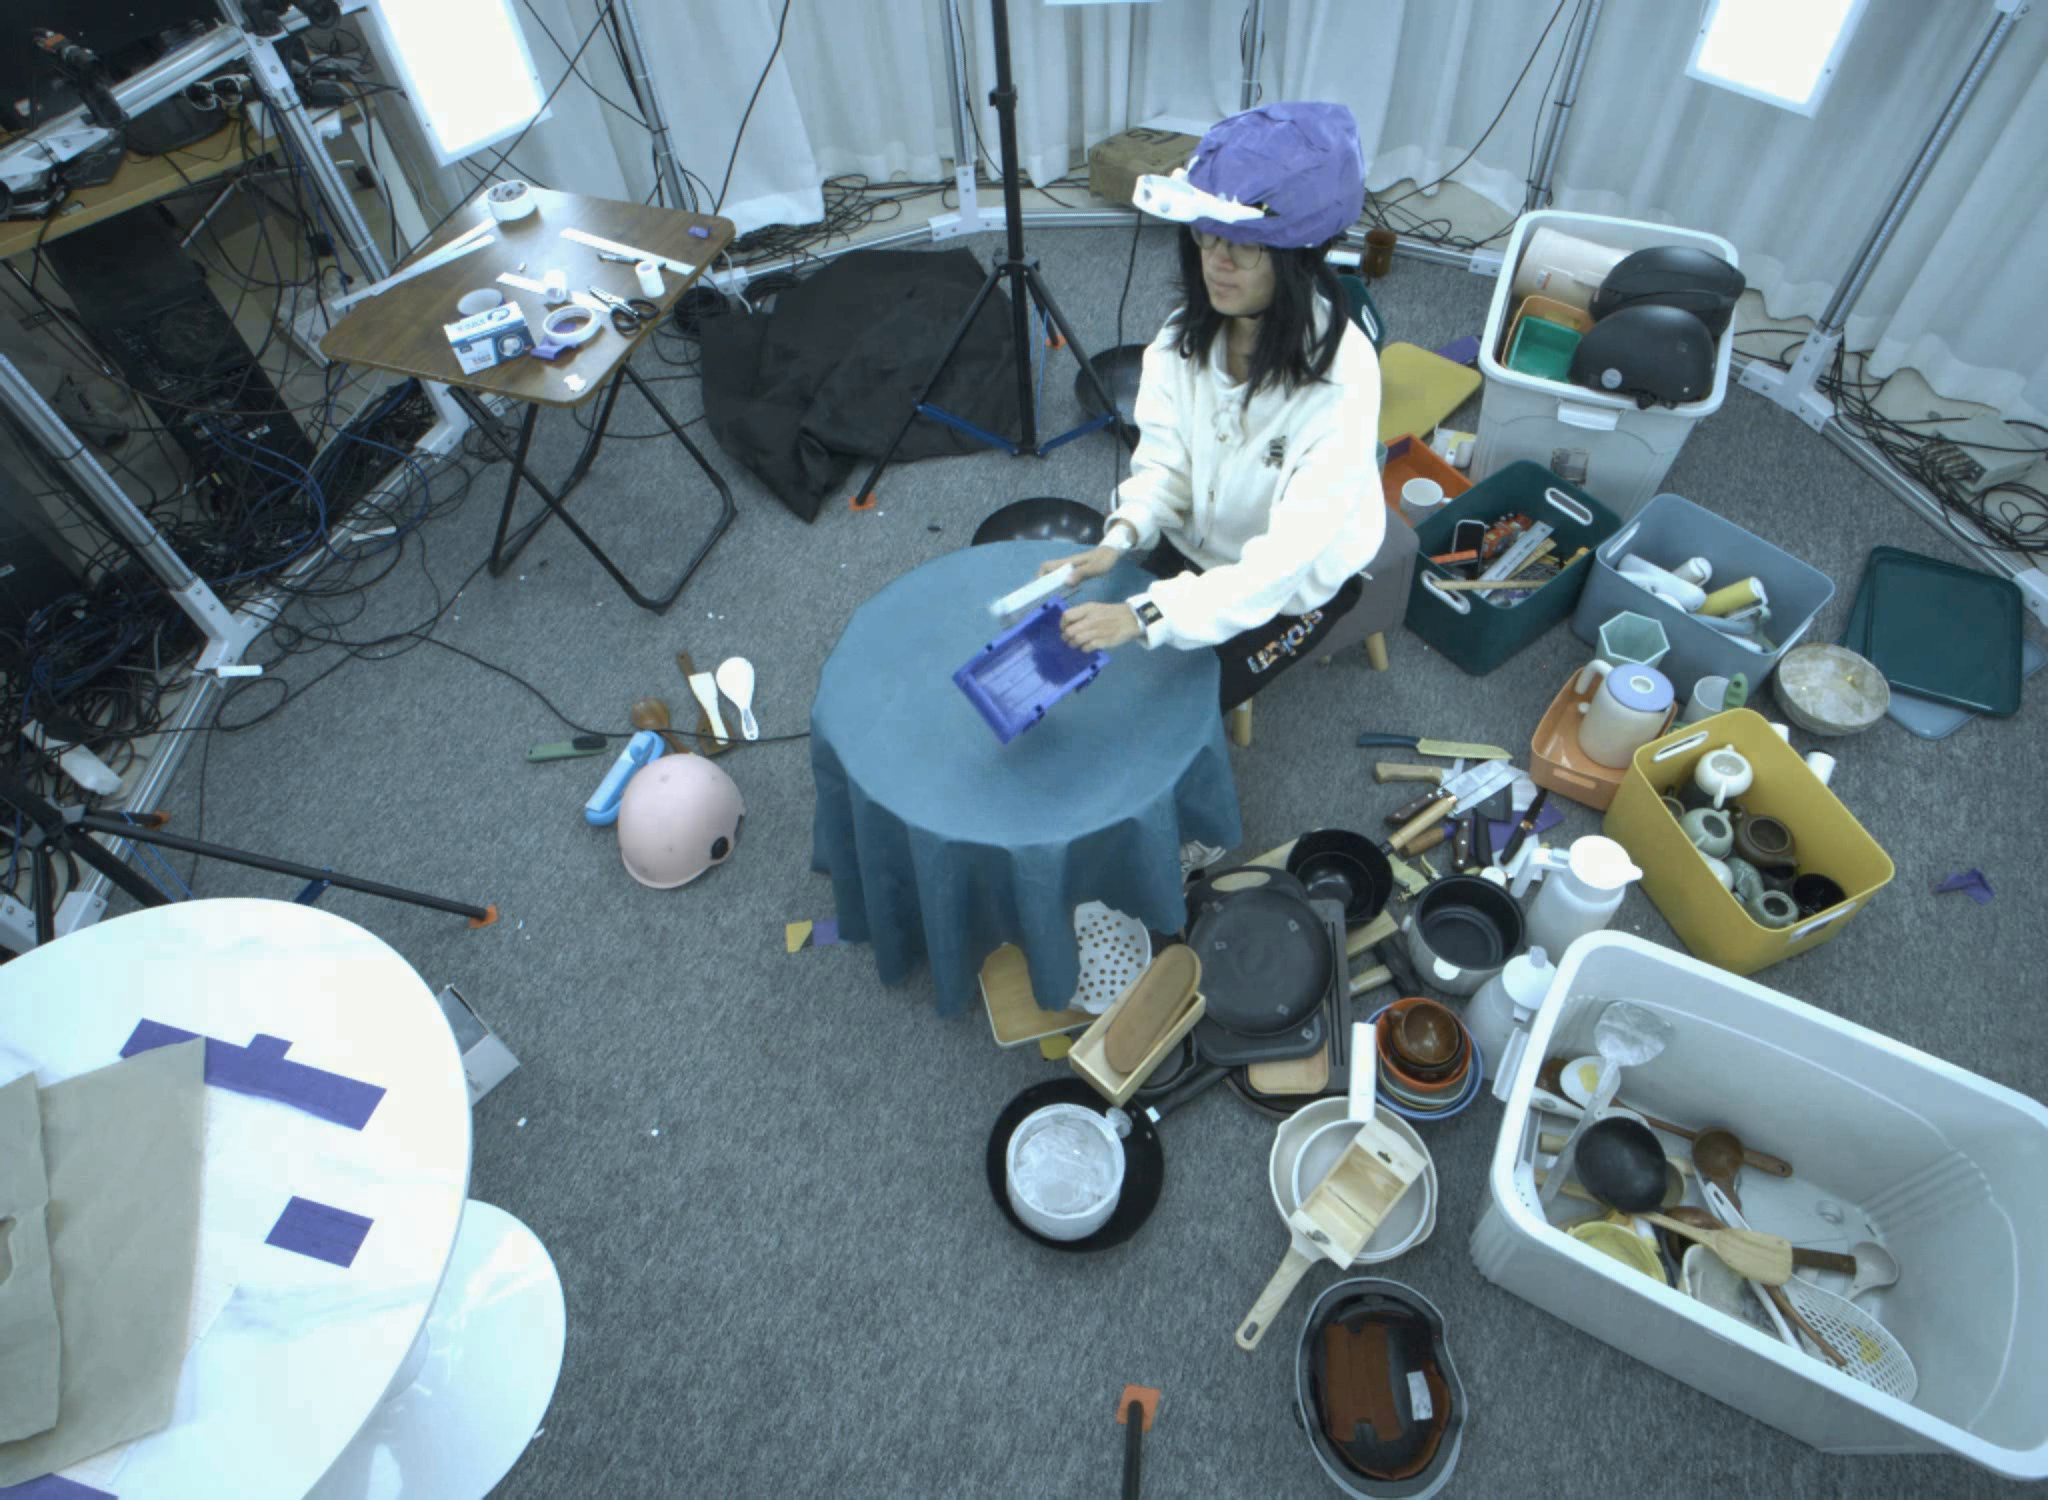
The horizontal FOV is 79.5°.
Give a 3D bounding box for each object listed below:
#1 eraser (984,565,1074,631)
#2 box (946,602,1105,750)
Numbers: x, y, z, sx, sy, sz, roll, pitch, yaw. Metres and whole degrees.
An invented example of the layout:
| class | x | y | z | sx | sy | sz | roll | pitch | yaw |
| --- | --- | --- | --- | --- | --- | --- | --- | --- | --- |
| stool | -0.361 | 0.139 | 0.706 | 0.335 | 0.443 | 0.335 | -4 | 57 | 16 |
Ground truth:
| class | x | y | z | sx | sy | sz | roll | pitch | yaw |
| --- | --- | --- | --- | --- | --- | --- | --- | --- | --- |
| eraser | 0.009 | -0.227 | 1.834 | 0.135 | 0.049 | 0.047 | -34 | 100 | -30 |
| box | 0.001 | -0.099 | 1.709 | 0.181 | 0.081 | 0.124 | -36 | 88 | -24 |
